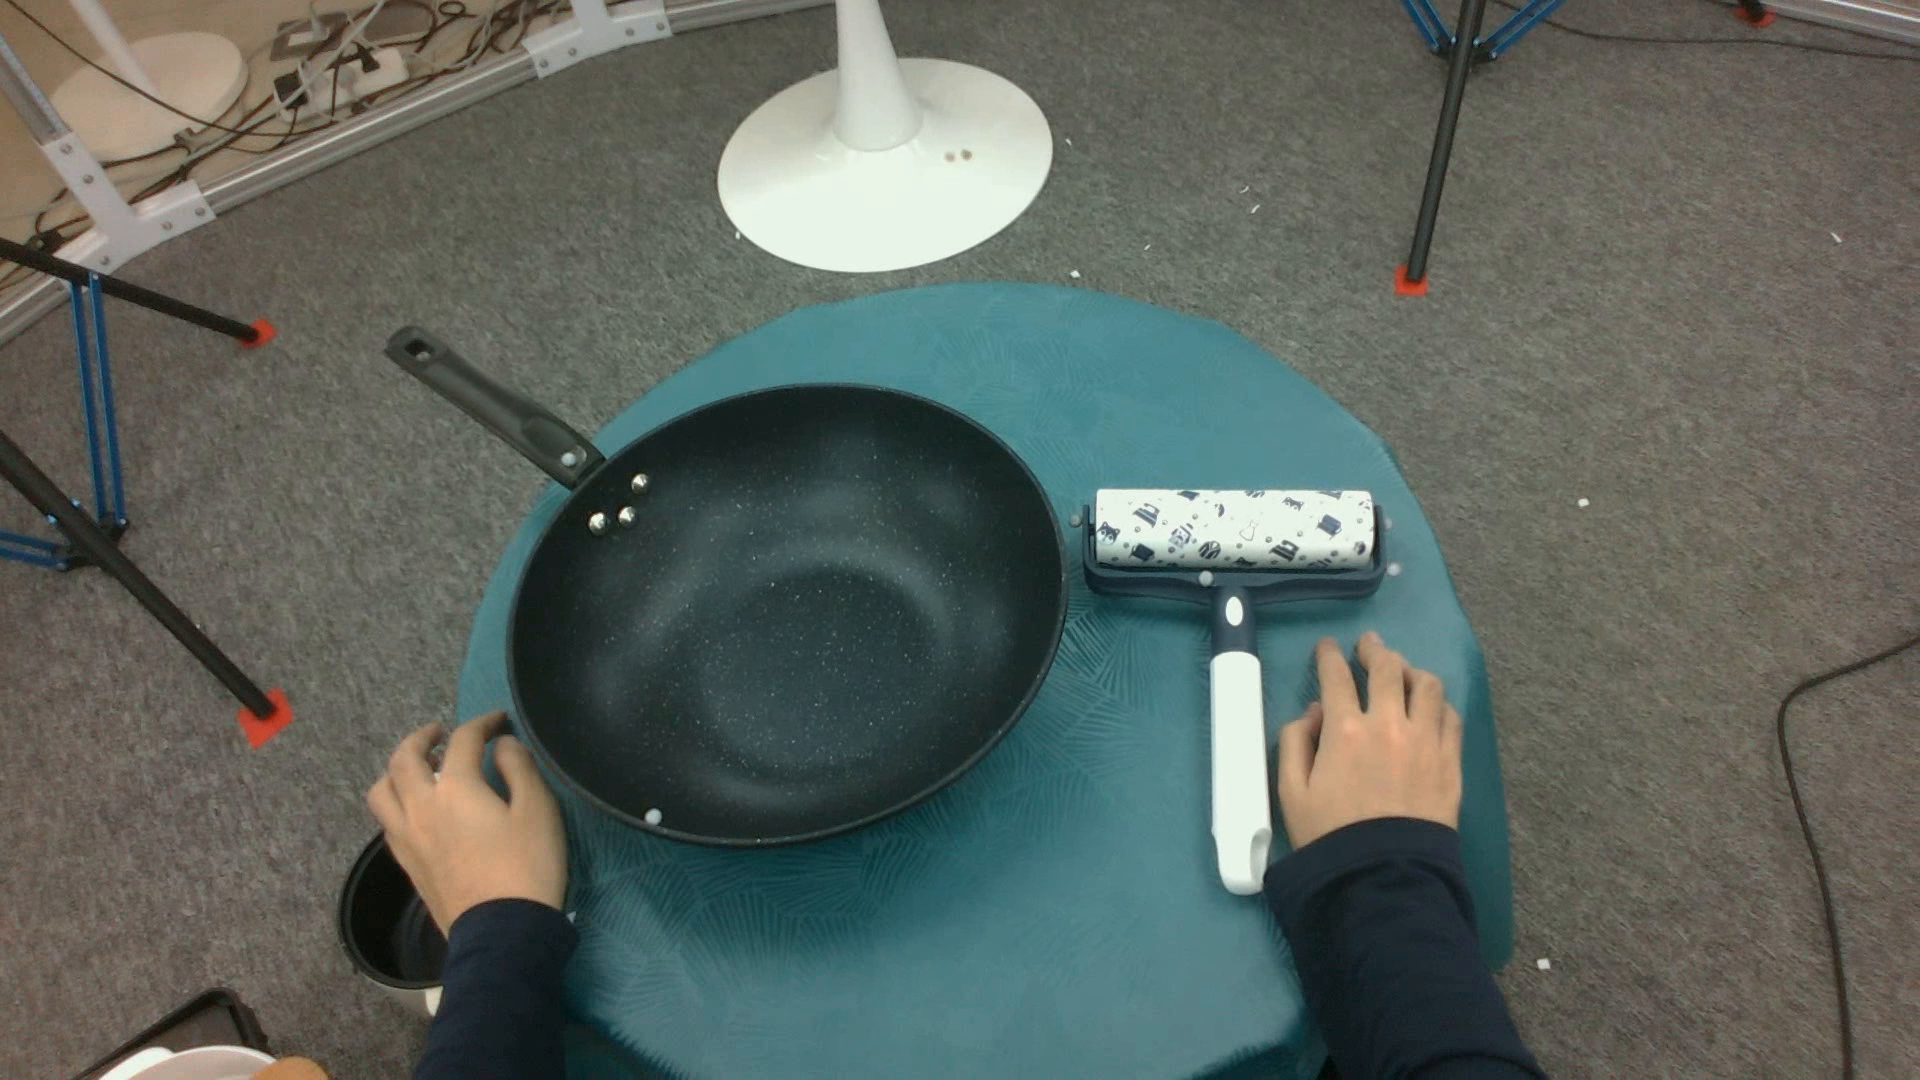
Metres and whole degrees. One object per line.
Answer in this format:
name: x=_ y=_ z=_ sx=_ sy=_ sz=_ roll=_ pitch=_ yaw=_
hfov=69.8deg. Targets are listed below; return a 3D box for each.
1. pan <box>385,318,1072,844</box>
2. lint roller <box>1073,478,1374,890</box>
pan: x=-0.160 y=0.002 z=0.807 sx=0.477 sy=0.111 sz=0.311 roll=28 pitch=59 yaw=24
lint roller: x=0.150 y=0.070 z=0.767 sx=0.176 sy=0.050 sz=0.248 roll=0 pitch=55 yaw=5
